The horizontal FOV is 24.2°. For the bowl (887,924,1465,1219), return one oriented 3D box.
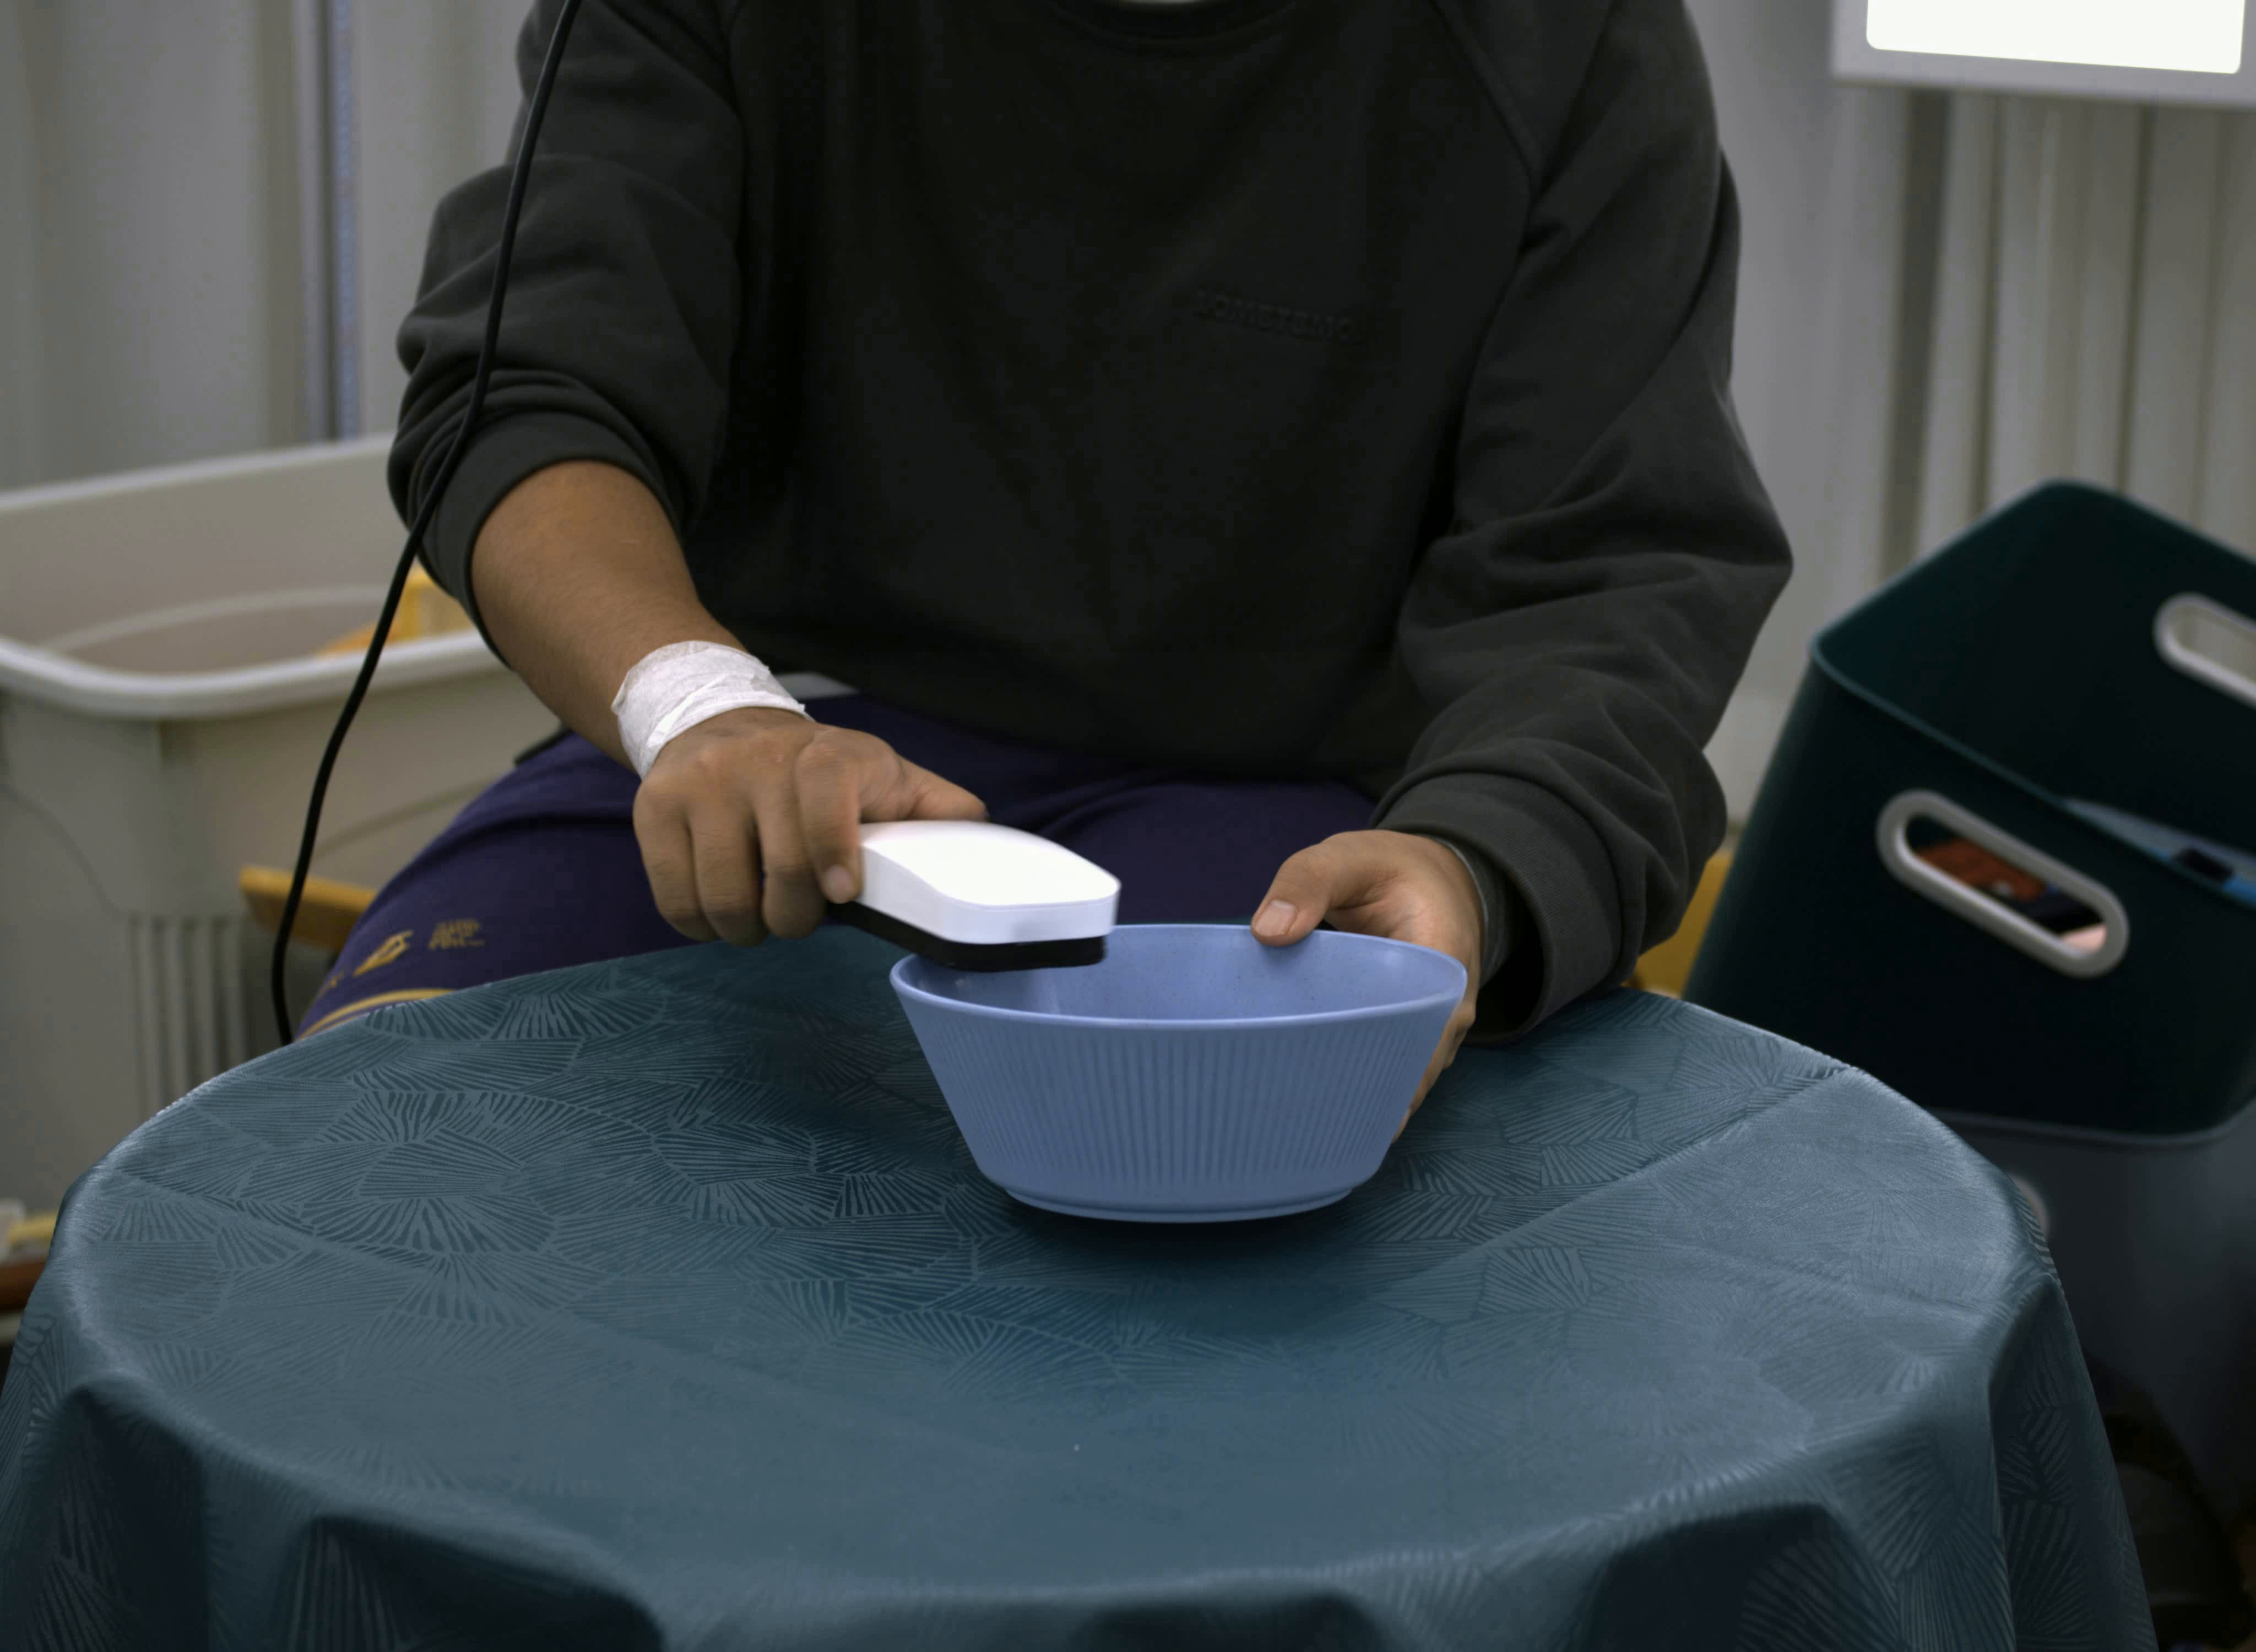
[{"bbox_3d":[0.014,0.075,1.601,0.175,0.071,0.175,1,9,0],"label":"bowl"}]

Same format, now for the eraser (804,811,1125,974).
[{"bbox_3d":[-0.052,0.017,1.660,0.064,0.035,0.129,-2,13,-28],"label":"eraser"}]
